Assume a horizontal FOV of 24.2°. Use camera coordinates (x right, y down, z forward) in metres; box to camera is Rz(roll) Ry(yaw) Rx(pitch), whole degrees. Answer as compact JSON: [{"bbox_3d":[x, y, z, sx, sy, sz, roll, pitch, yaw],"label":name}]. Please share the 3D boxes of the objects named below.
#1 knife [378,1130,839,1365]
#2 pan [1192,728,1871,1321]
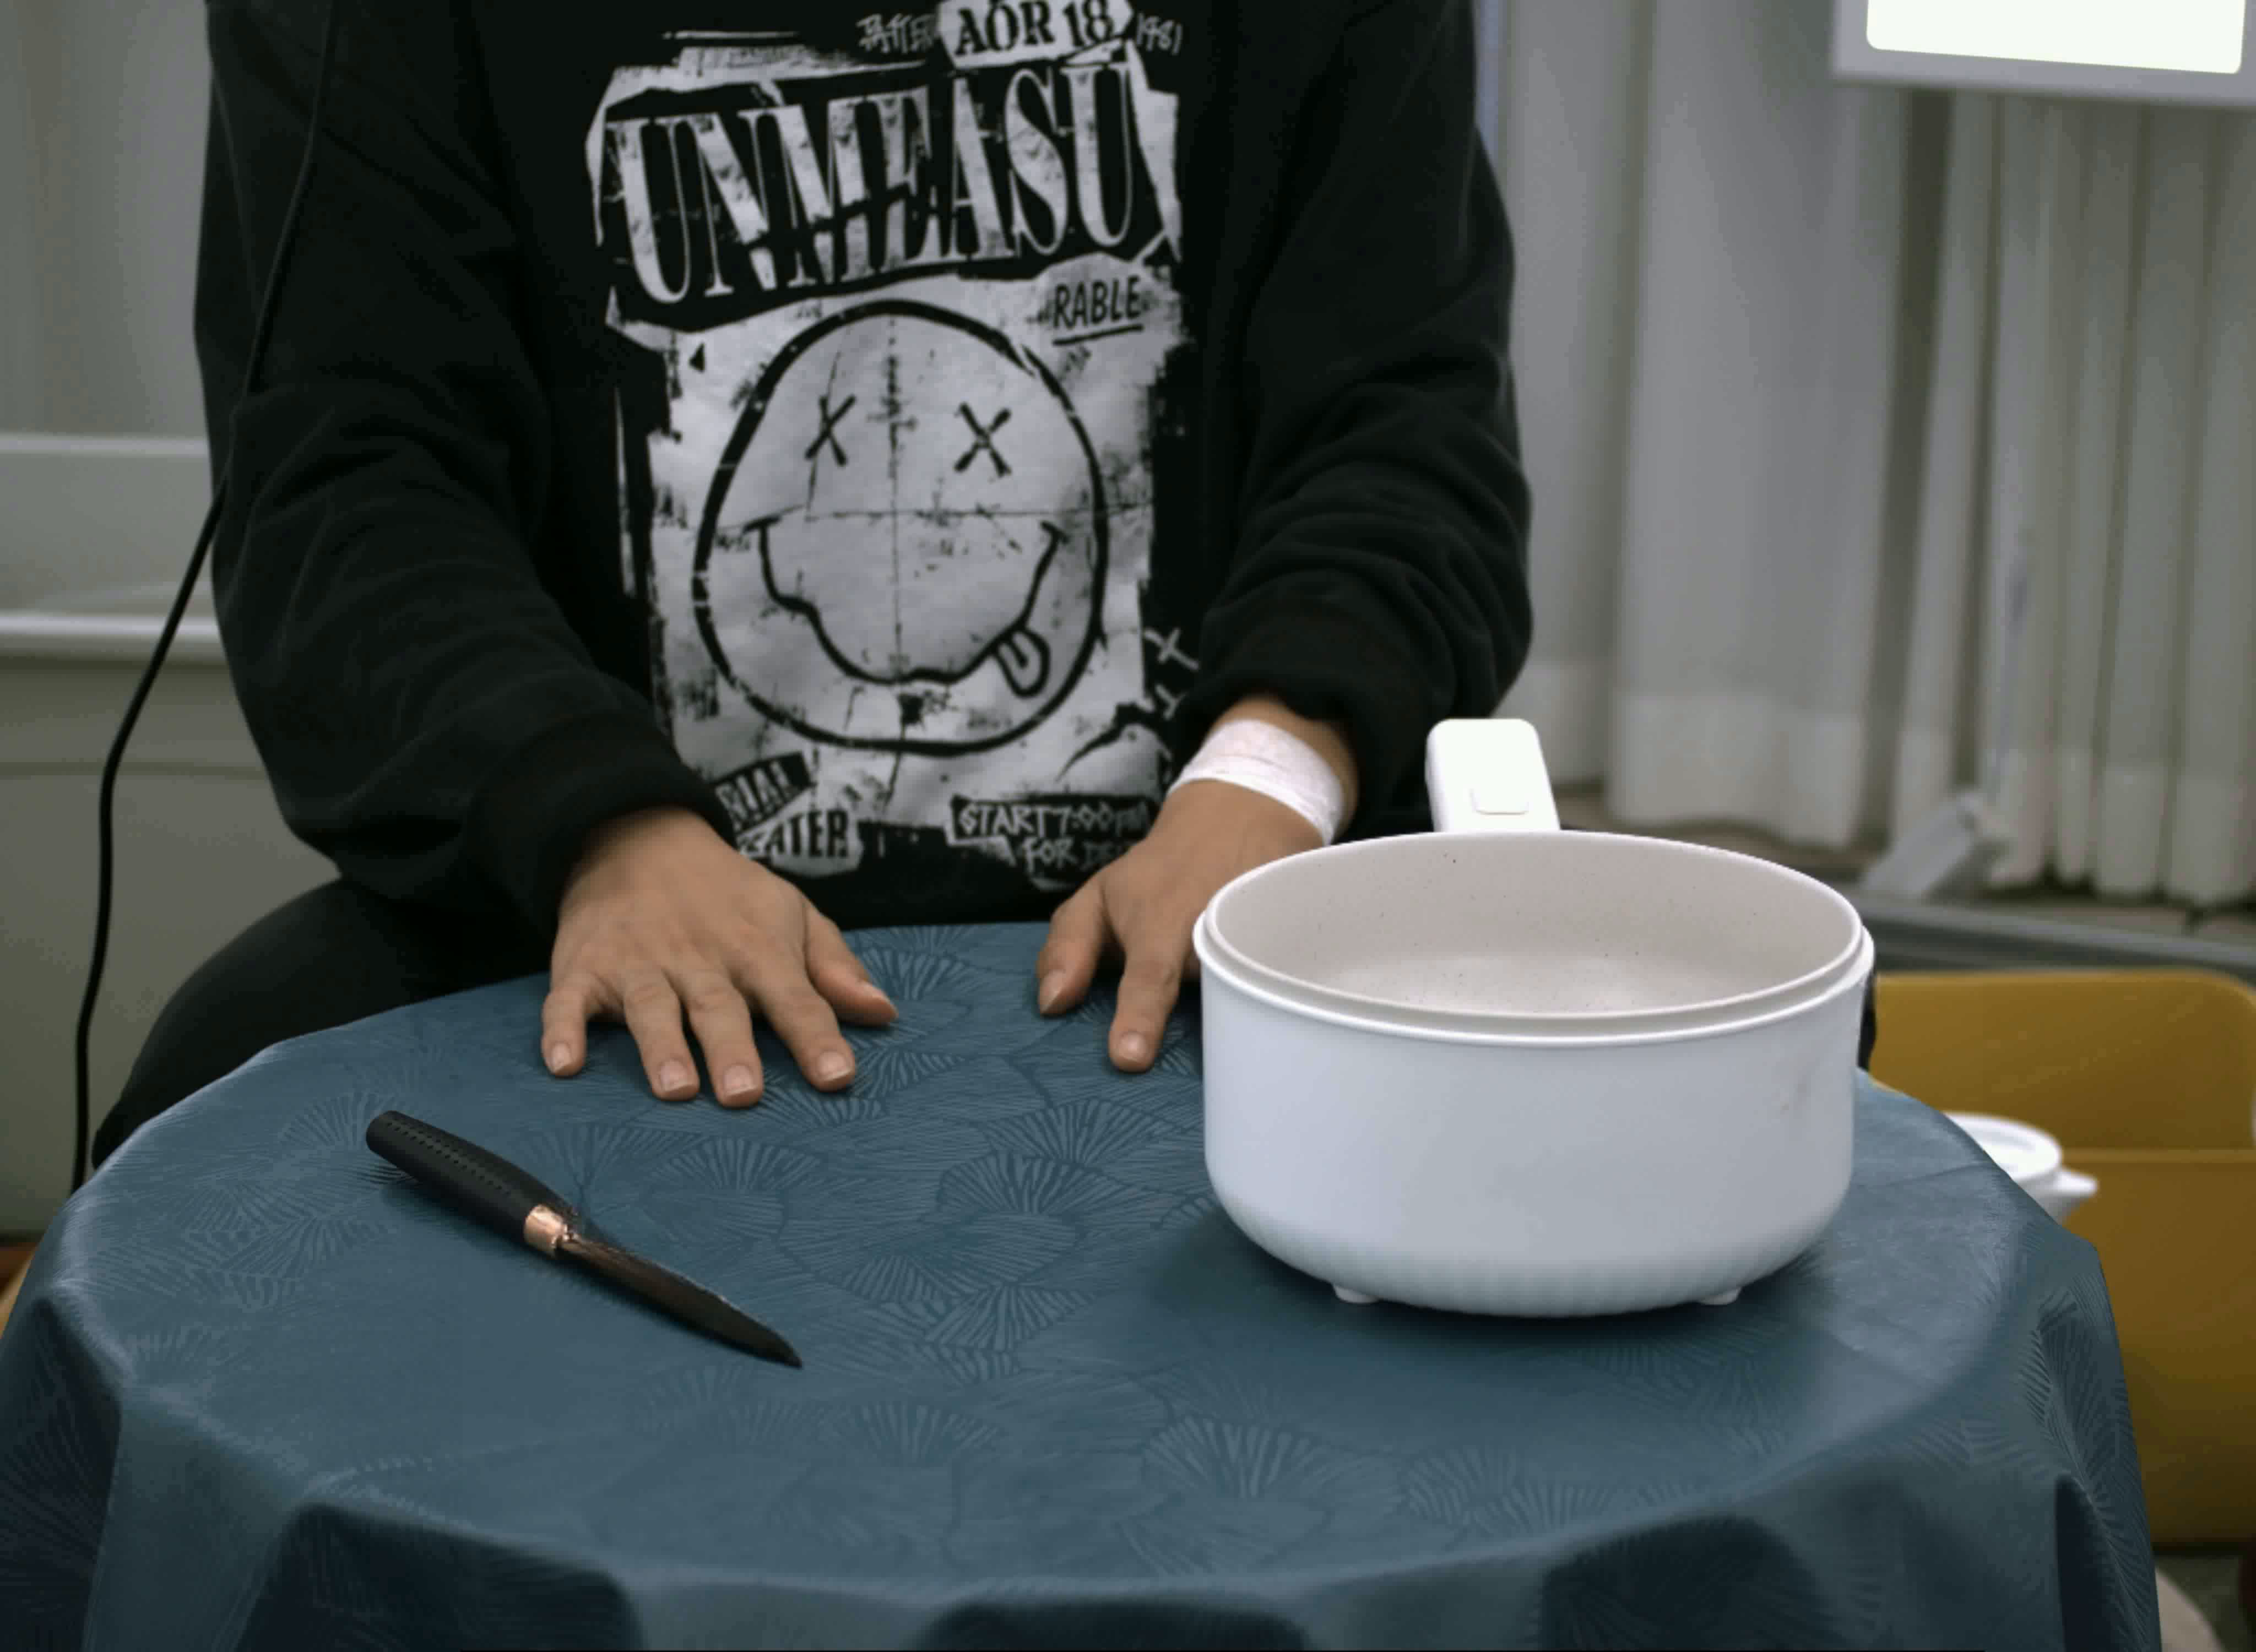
[{"bbox_3d":[-0.157,0.125,1.557,0.026,0.017,0.222,5,10,-41],"label":"knife"},{"bbox_3d":[0.121,0.057,1.646,0.200,0.103,0.353,-1,15,1],"label":"pan"}]
